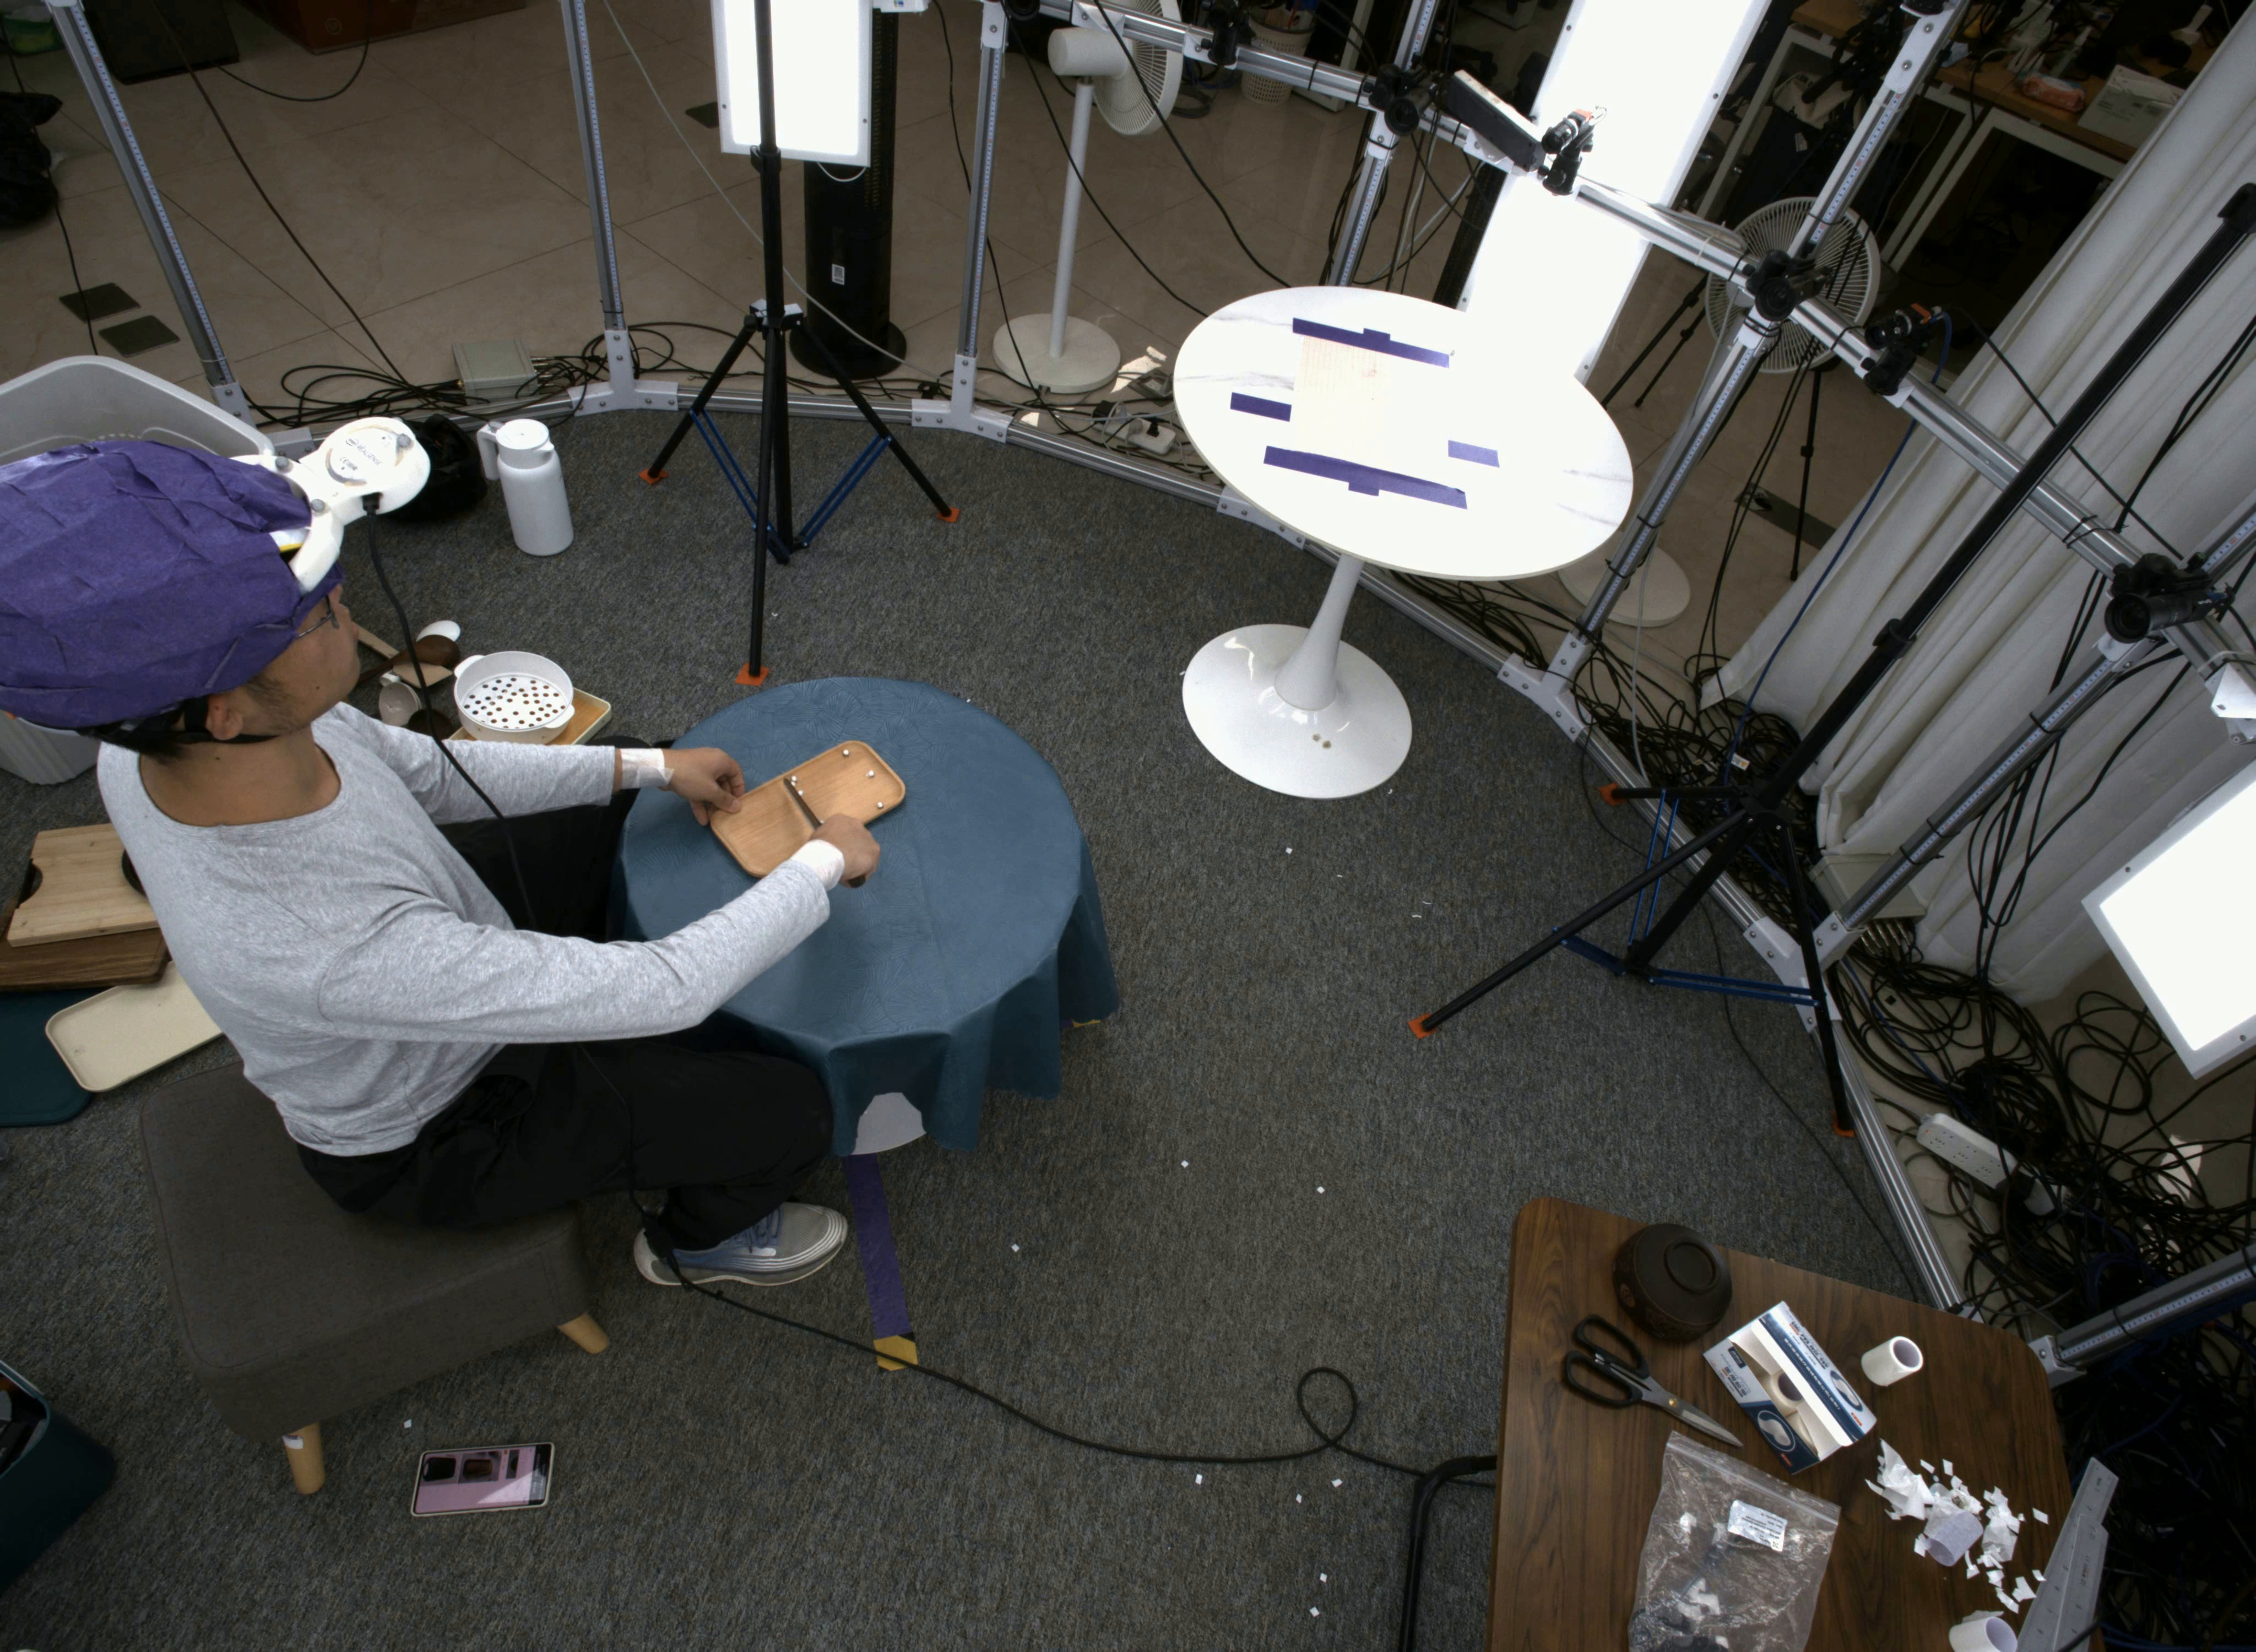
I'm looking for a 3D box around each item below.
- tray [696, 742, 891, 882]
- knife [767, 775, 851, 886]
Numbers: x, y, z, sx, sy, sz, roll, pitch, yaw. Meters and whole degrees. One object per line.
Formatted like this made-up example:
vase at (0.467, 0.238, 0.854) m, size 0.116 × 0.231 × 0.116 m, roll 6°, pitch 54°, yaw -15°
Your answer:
tray at (-0.445, -0.022, 1.734) m, size 0.251 × 0.023 × 0.127 m, roll -33°, pitch 67°, yaw -31°
knife at (-0.409, 0.001, 1.632) m, size 0.020 × 0.052 × 0.278 m, roll -24°, pitch 38°, yaw -23°
